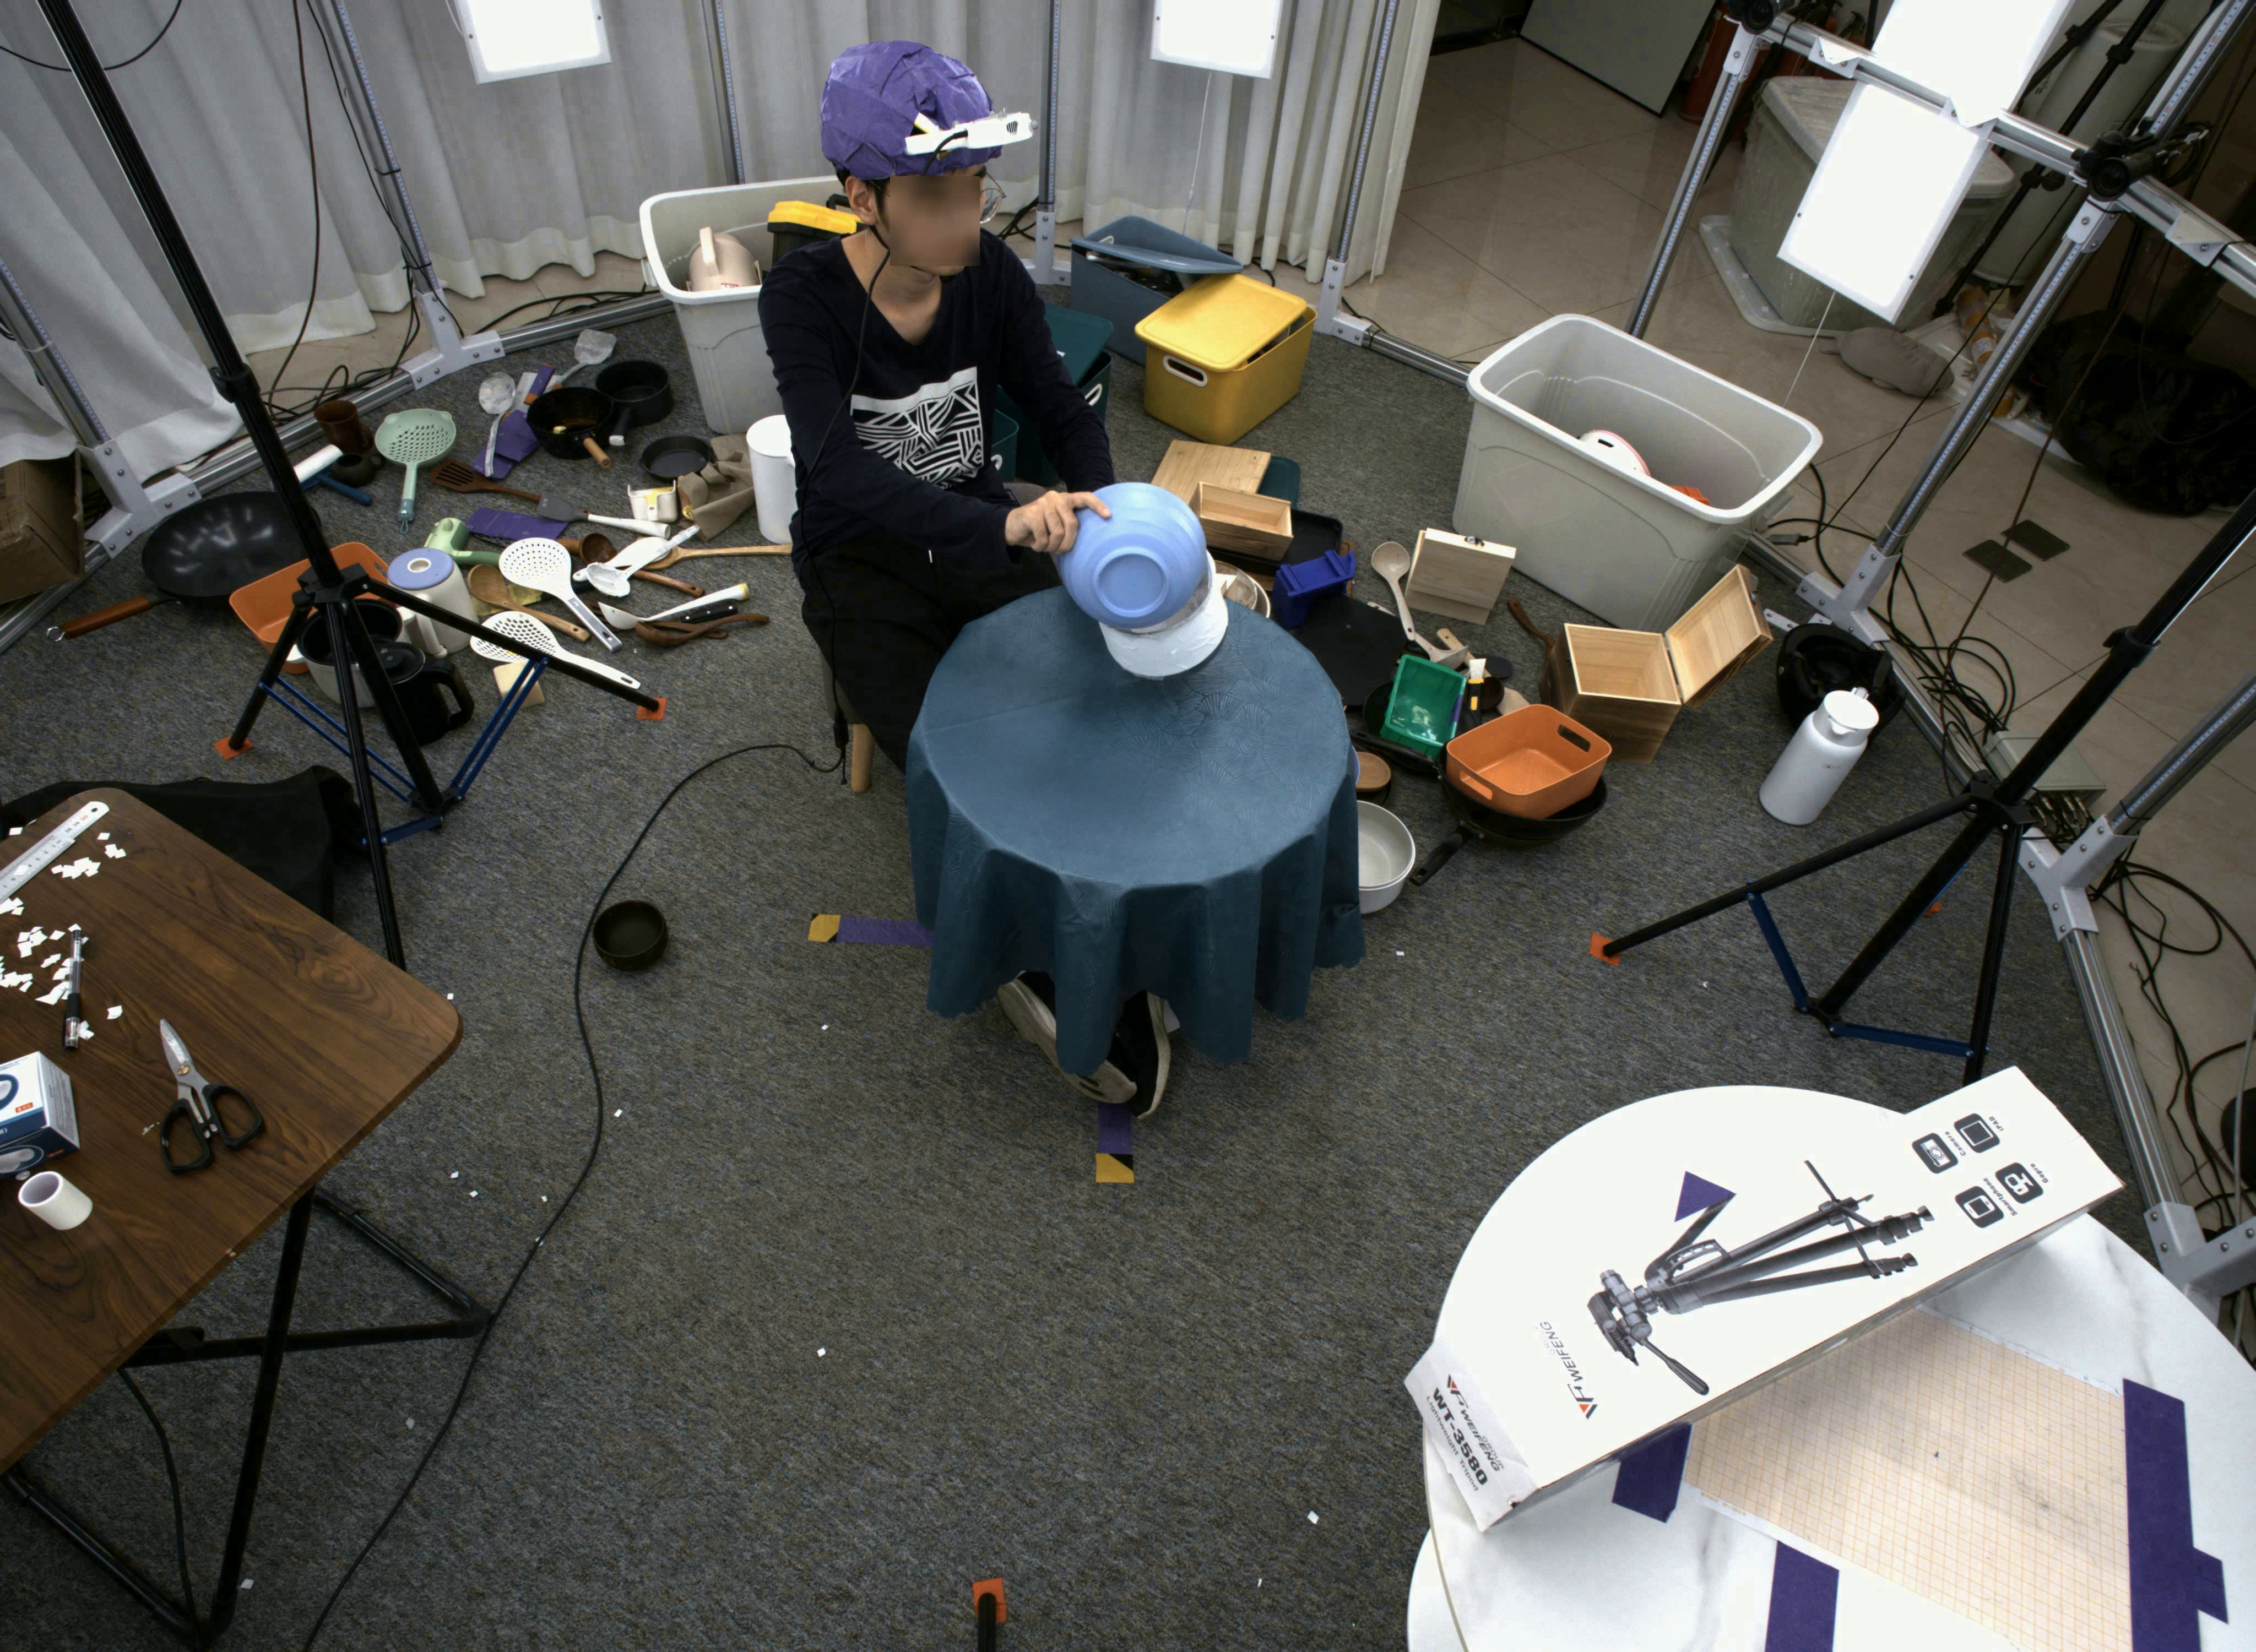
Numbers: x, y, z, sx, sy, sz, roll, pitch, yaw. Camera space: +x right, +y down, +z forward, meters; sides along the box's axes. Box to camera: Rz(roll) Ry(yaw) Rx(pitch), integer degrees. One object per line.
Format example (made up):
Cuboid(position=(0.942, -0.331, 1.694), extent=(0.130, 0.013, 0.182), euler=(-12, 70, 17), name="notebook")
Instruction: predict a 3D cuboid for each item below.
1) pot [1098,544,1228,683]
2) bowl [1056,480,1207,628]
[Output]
Cuboid(position=(0.032, -0.318, 1.795), extent=(0.179, 0.133, 0.238), euler=(-32, 58, -7), name="pot")
Cuboid(position=(0.003, -0.329, 1.639), extent=(0.196, 0.192, 0.098), euler=(5, 39, 0), name="bowl")
